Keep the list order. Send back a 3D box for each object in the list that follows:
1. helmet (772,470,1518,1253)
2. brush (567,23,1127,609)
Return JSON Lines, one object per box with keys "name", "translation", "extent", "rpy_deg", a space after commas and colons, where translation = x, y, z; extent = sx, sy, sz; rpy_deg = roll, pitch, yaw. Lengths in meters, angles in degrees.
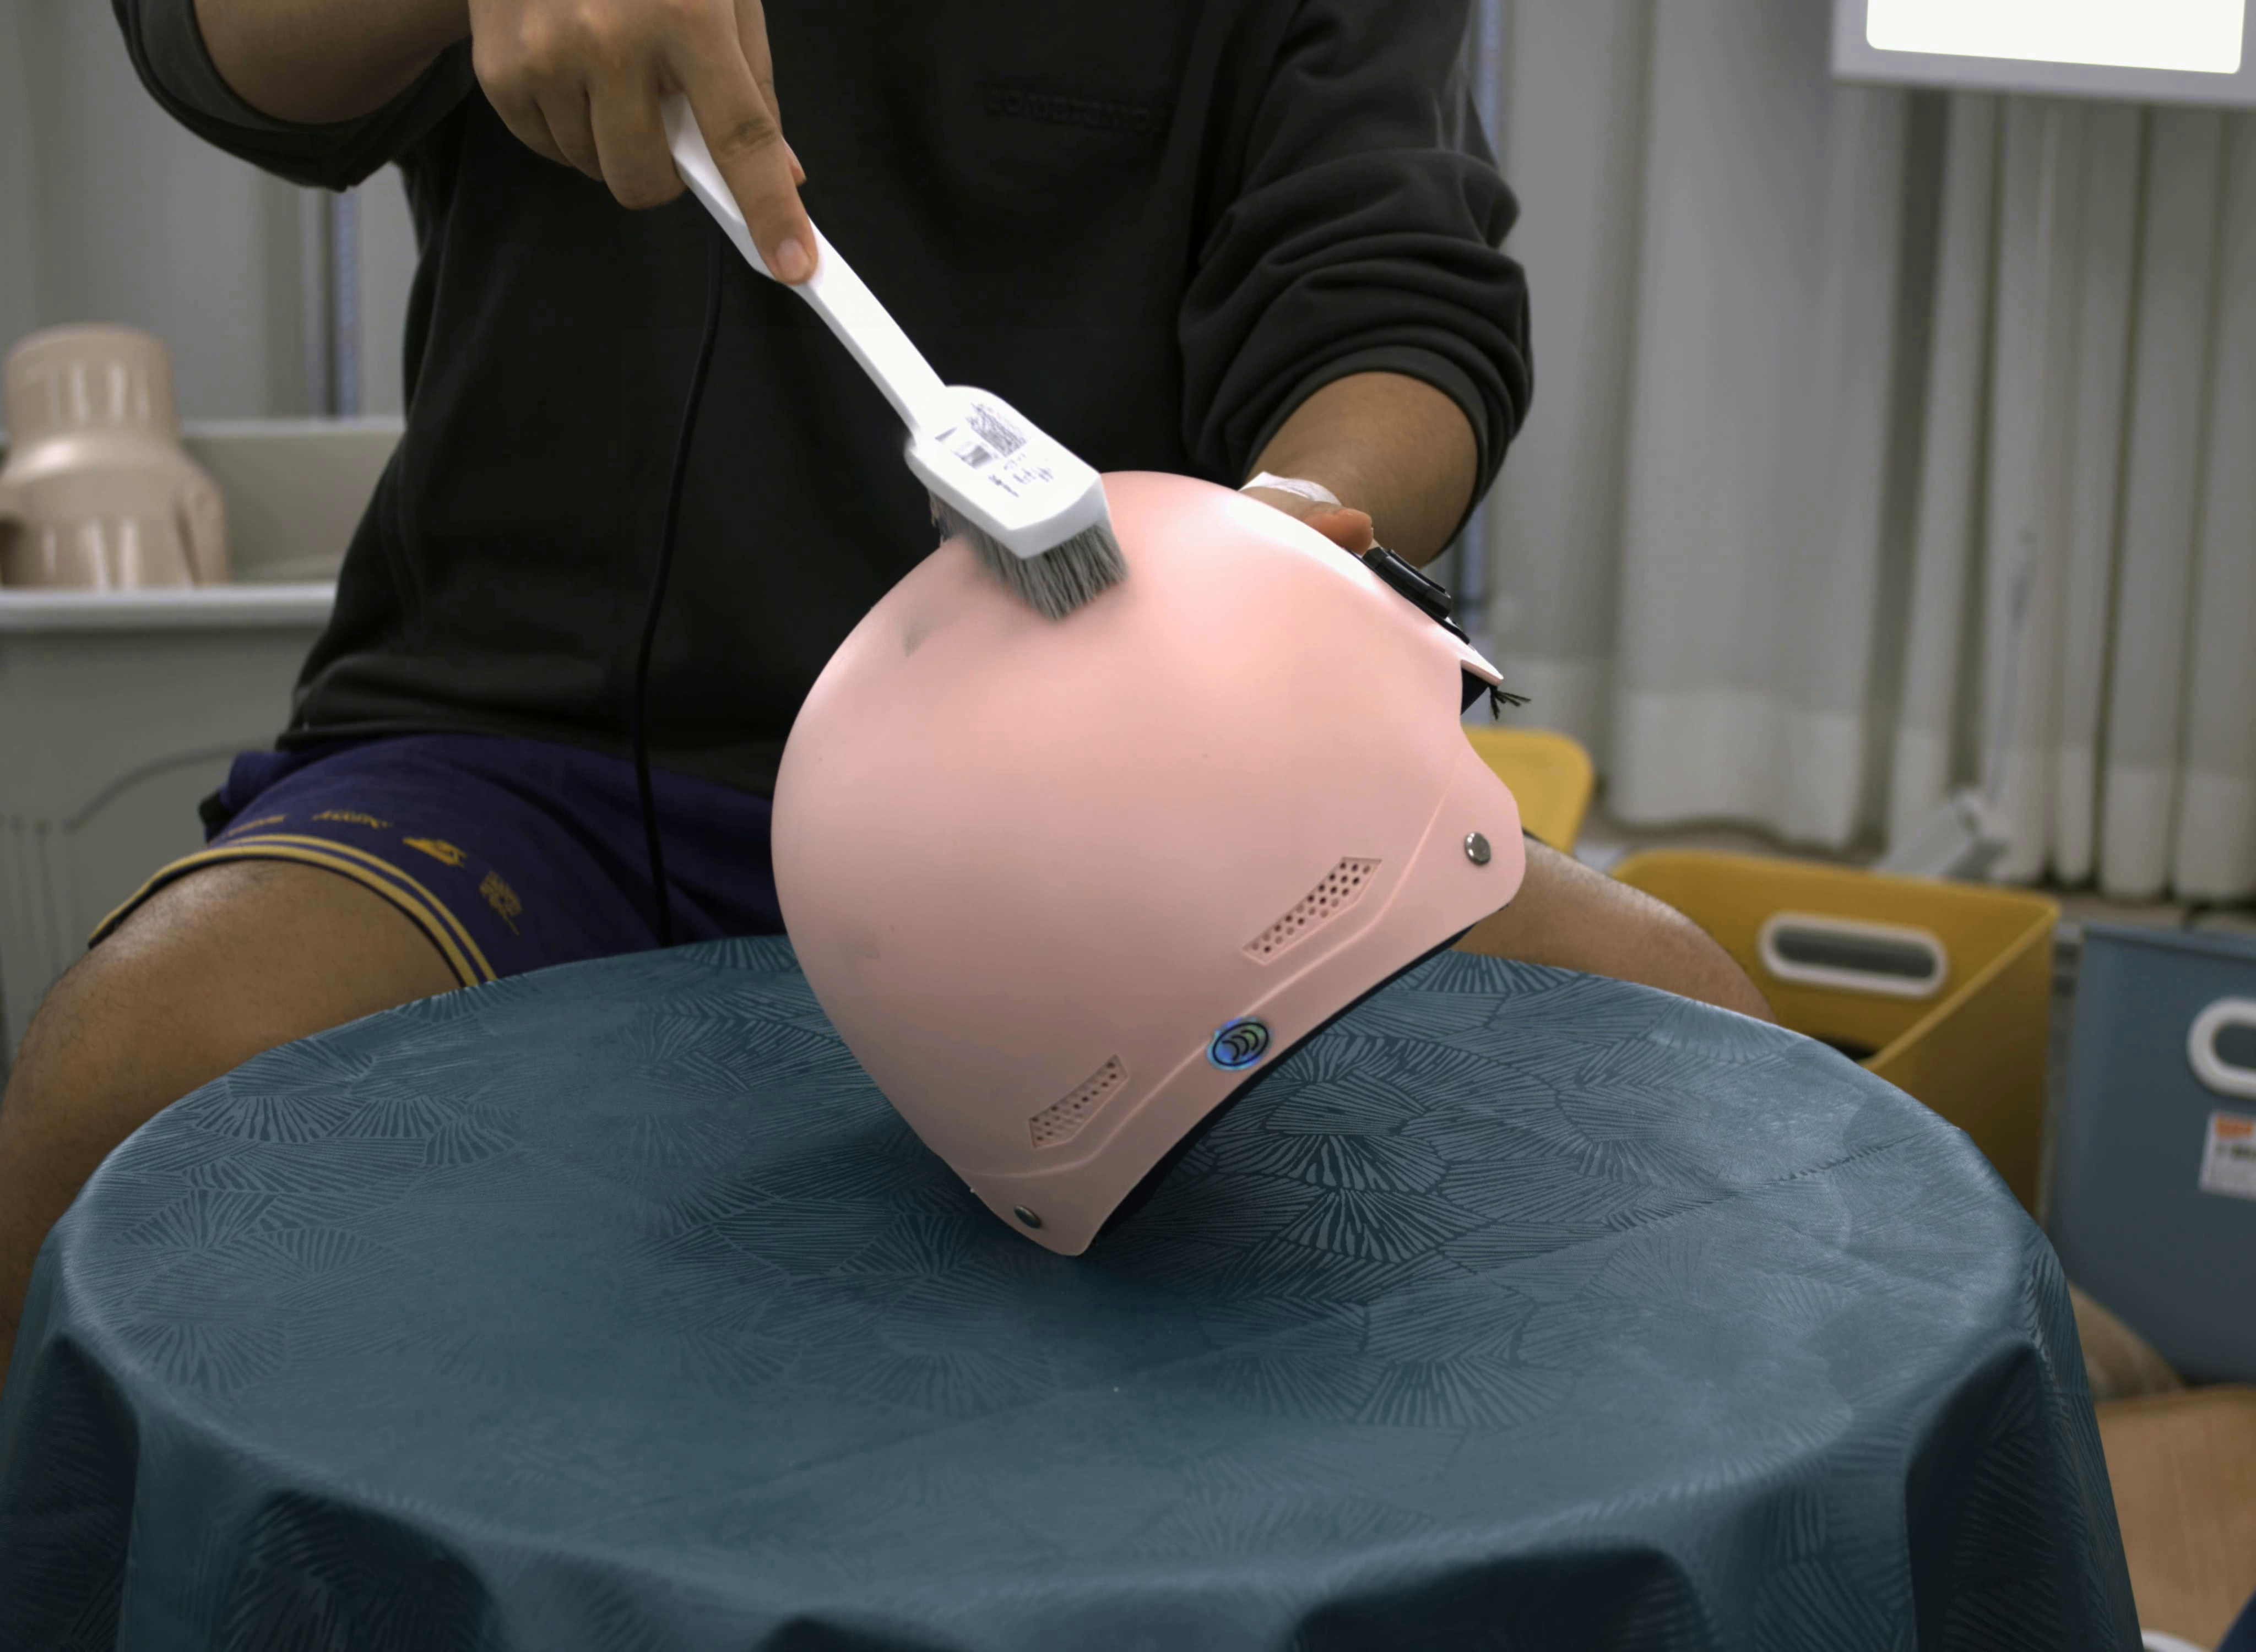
{"name": "helmet", "translation": [-0.015, -0.017, 1.589], "extent": [0.234, 0.160, 0.263], "rpy_deg": [-41, 24, 11]}
{"name": "brush", "translation": [-0.085, -0.150, 1.541], "extent": [0.034, 0.051, 0.241], "rpy_deg": [-35, 64, -20]}
